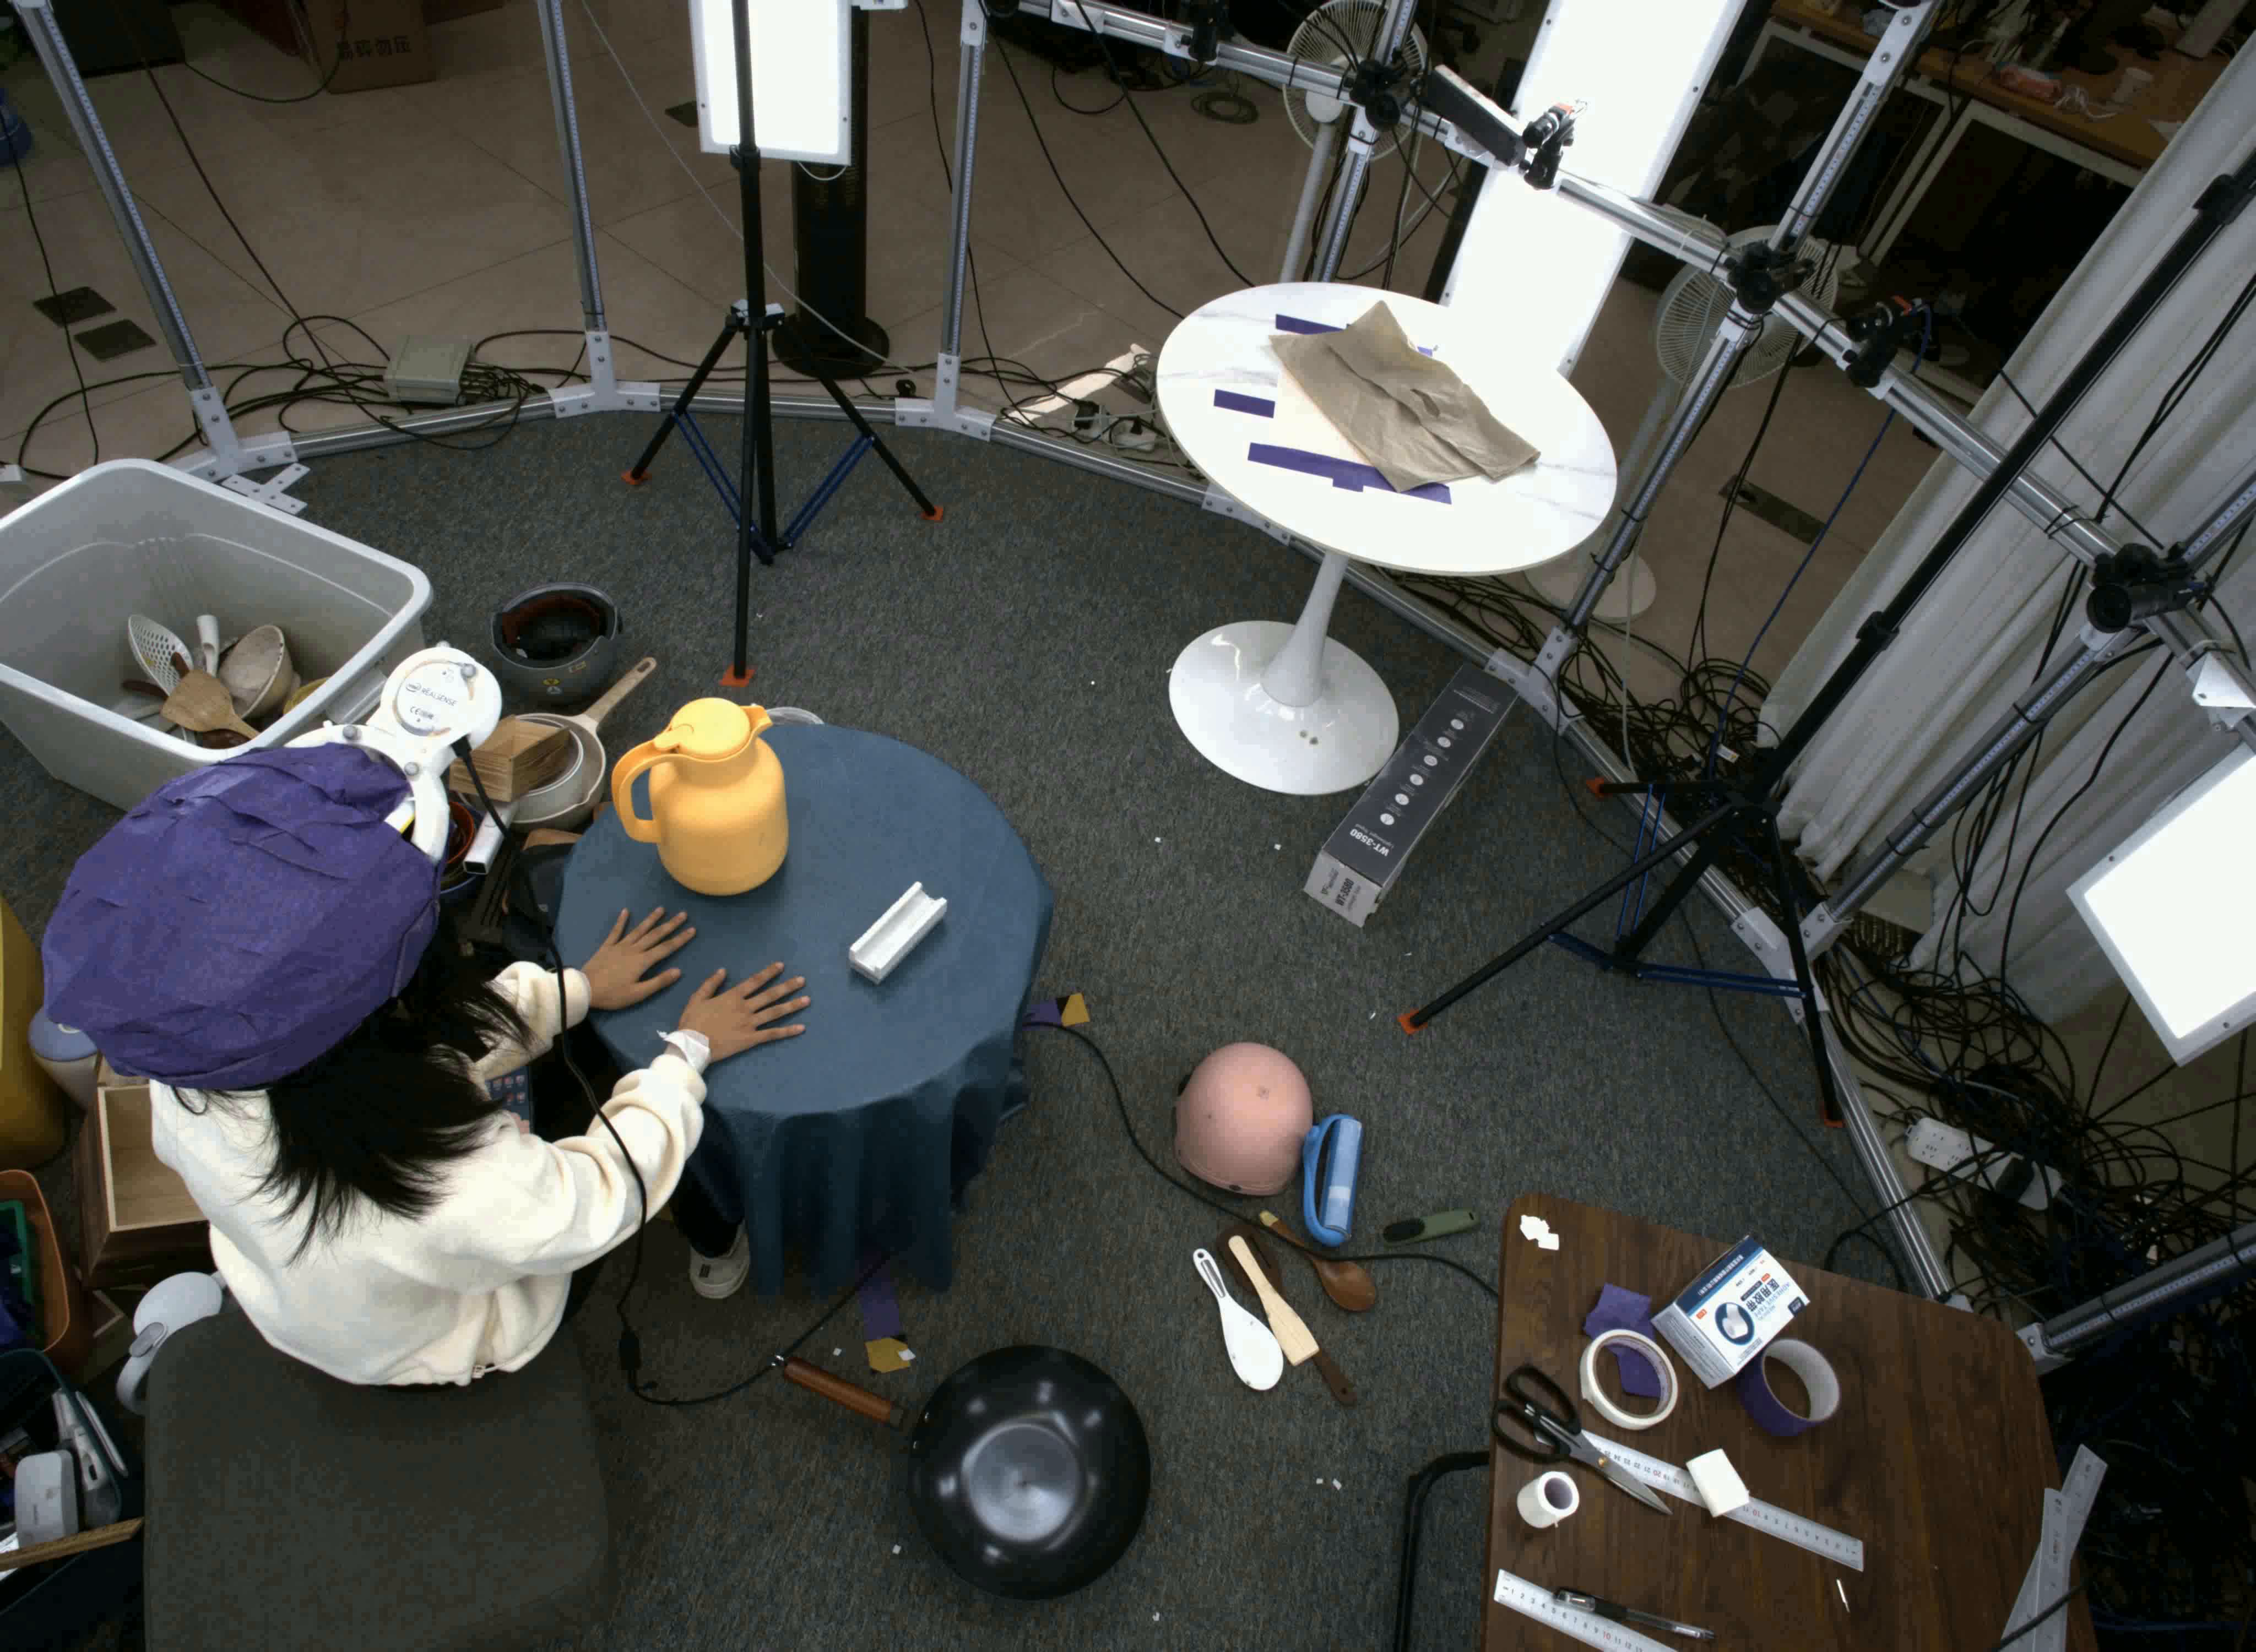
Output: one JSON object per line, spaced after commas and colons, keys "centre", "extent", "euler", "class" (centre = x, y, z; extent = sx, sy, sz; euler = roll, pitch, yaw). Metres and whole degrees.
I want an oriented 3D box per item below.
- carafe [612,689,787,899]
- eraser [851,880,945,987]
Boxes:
{"centre": [-0.516, -0.040, 1.552], "extent": [0.203, 0.266, 0.159], "euler": [-21, 56, -27], "class": "carafe"}
{"centre": [-0.287, 0.132, 1.626], "extent": [0.049, 0.047, 0.134], "euler": [32, 51, 8], "class": "eraser"}
